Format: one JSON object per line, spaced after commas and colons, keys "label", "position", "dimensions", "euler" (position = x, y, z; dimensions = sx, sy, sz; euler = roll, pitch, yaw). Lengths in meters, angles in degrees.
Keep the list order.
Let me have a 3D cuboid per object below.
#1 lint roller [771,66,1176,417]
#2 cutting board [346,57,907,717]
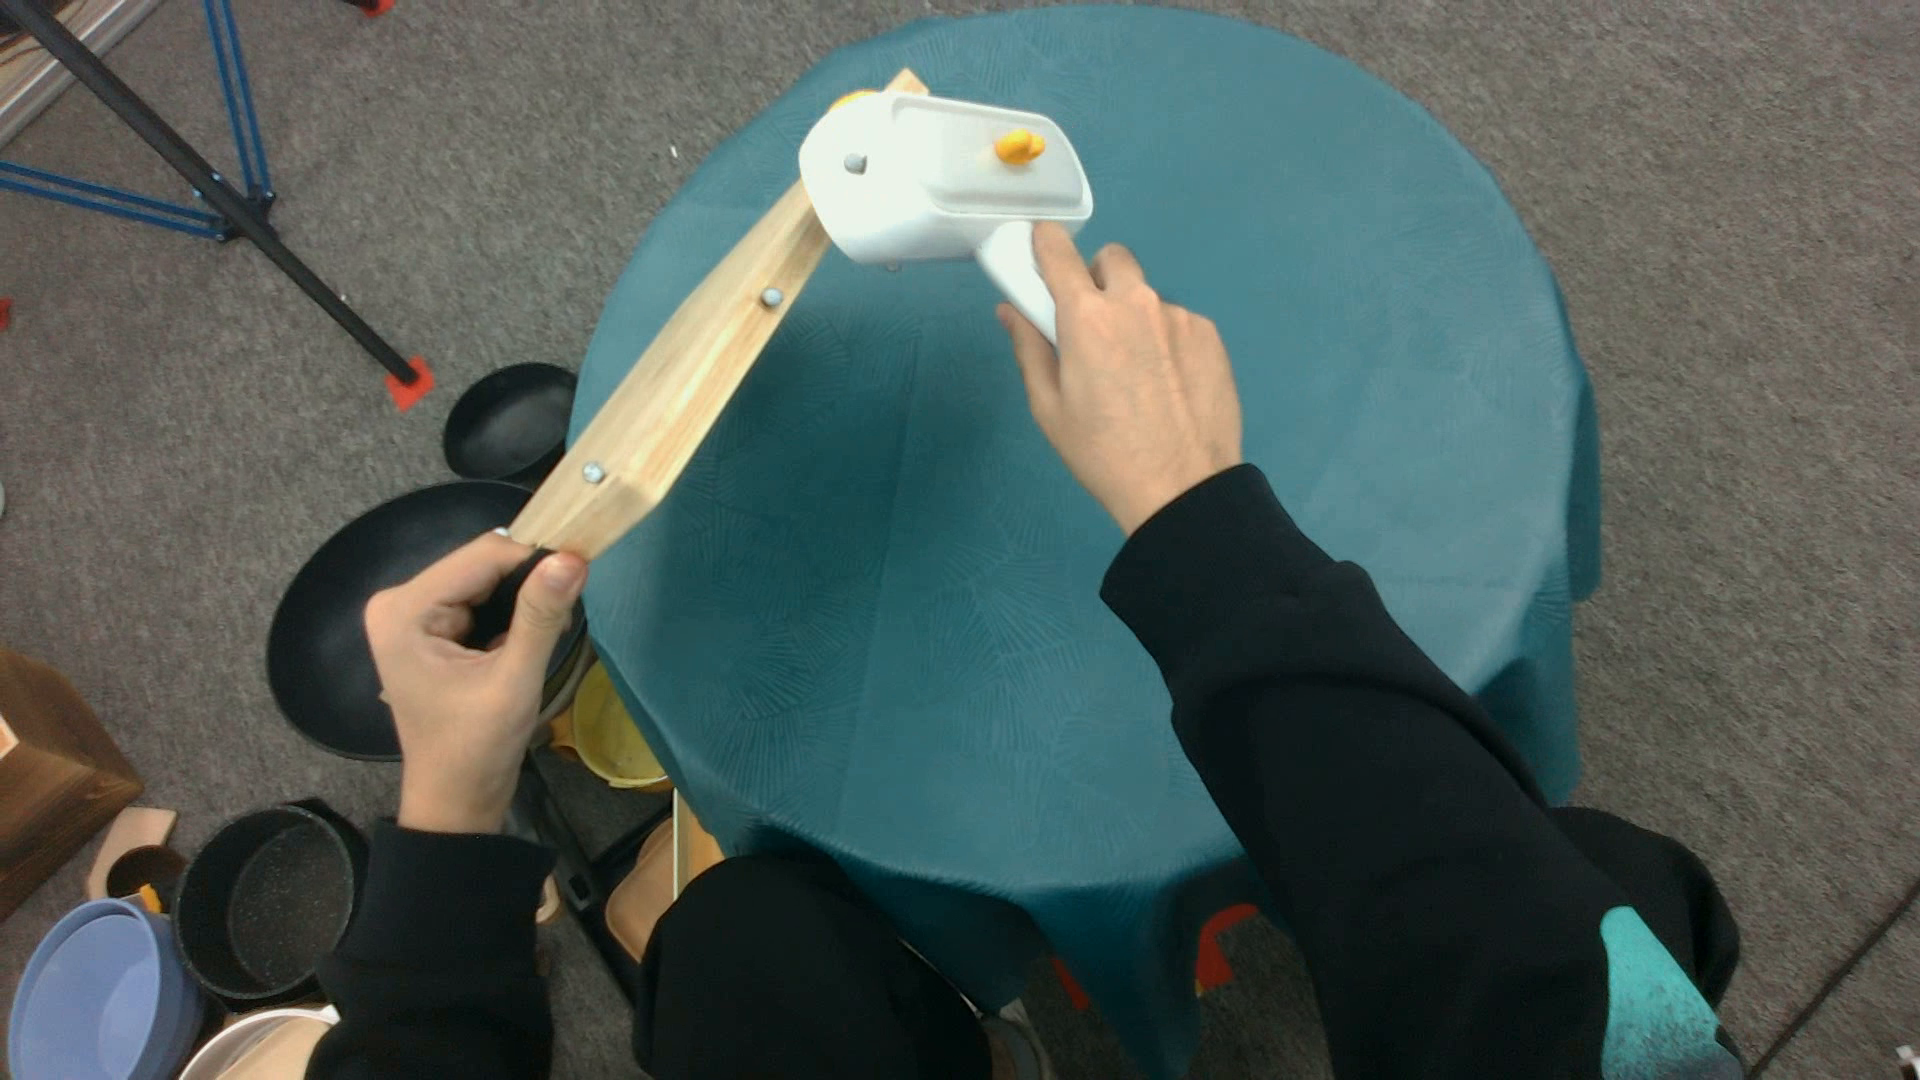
{"label": "lint roller", "position": [0.023, -0.128, 0.625], "dimensions": [0.074, 0.193, 0.192], "euler": [-34, 87, 27]}
{"label": "cutting board", "position": [-0.154, -0.086, 0.683], "dimensions": [0.249, 0.023, 0.350], "euler": [-33, 25, 39]}
